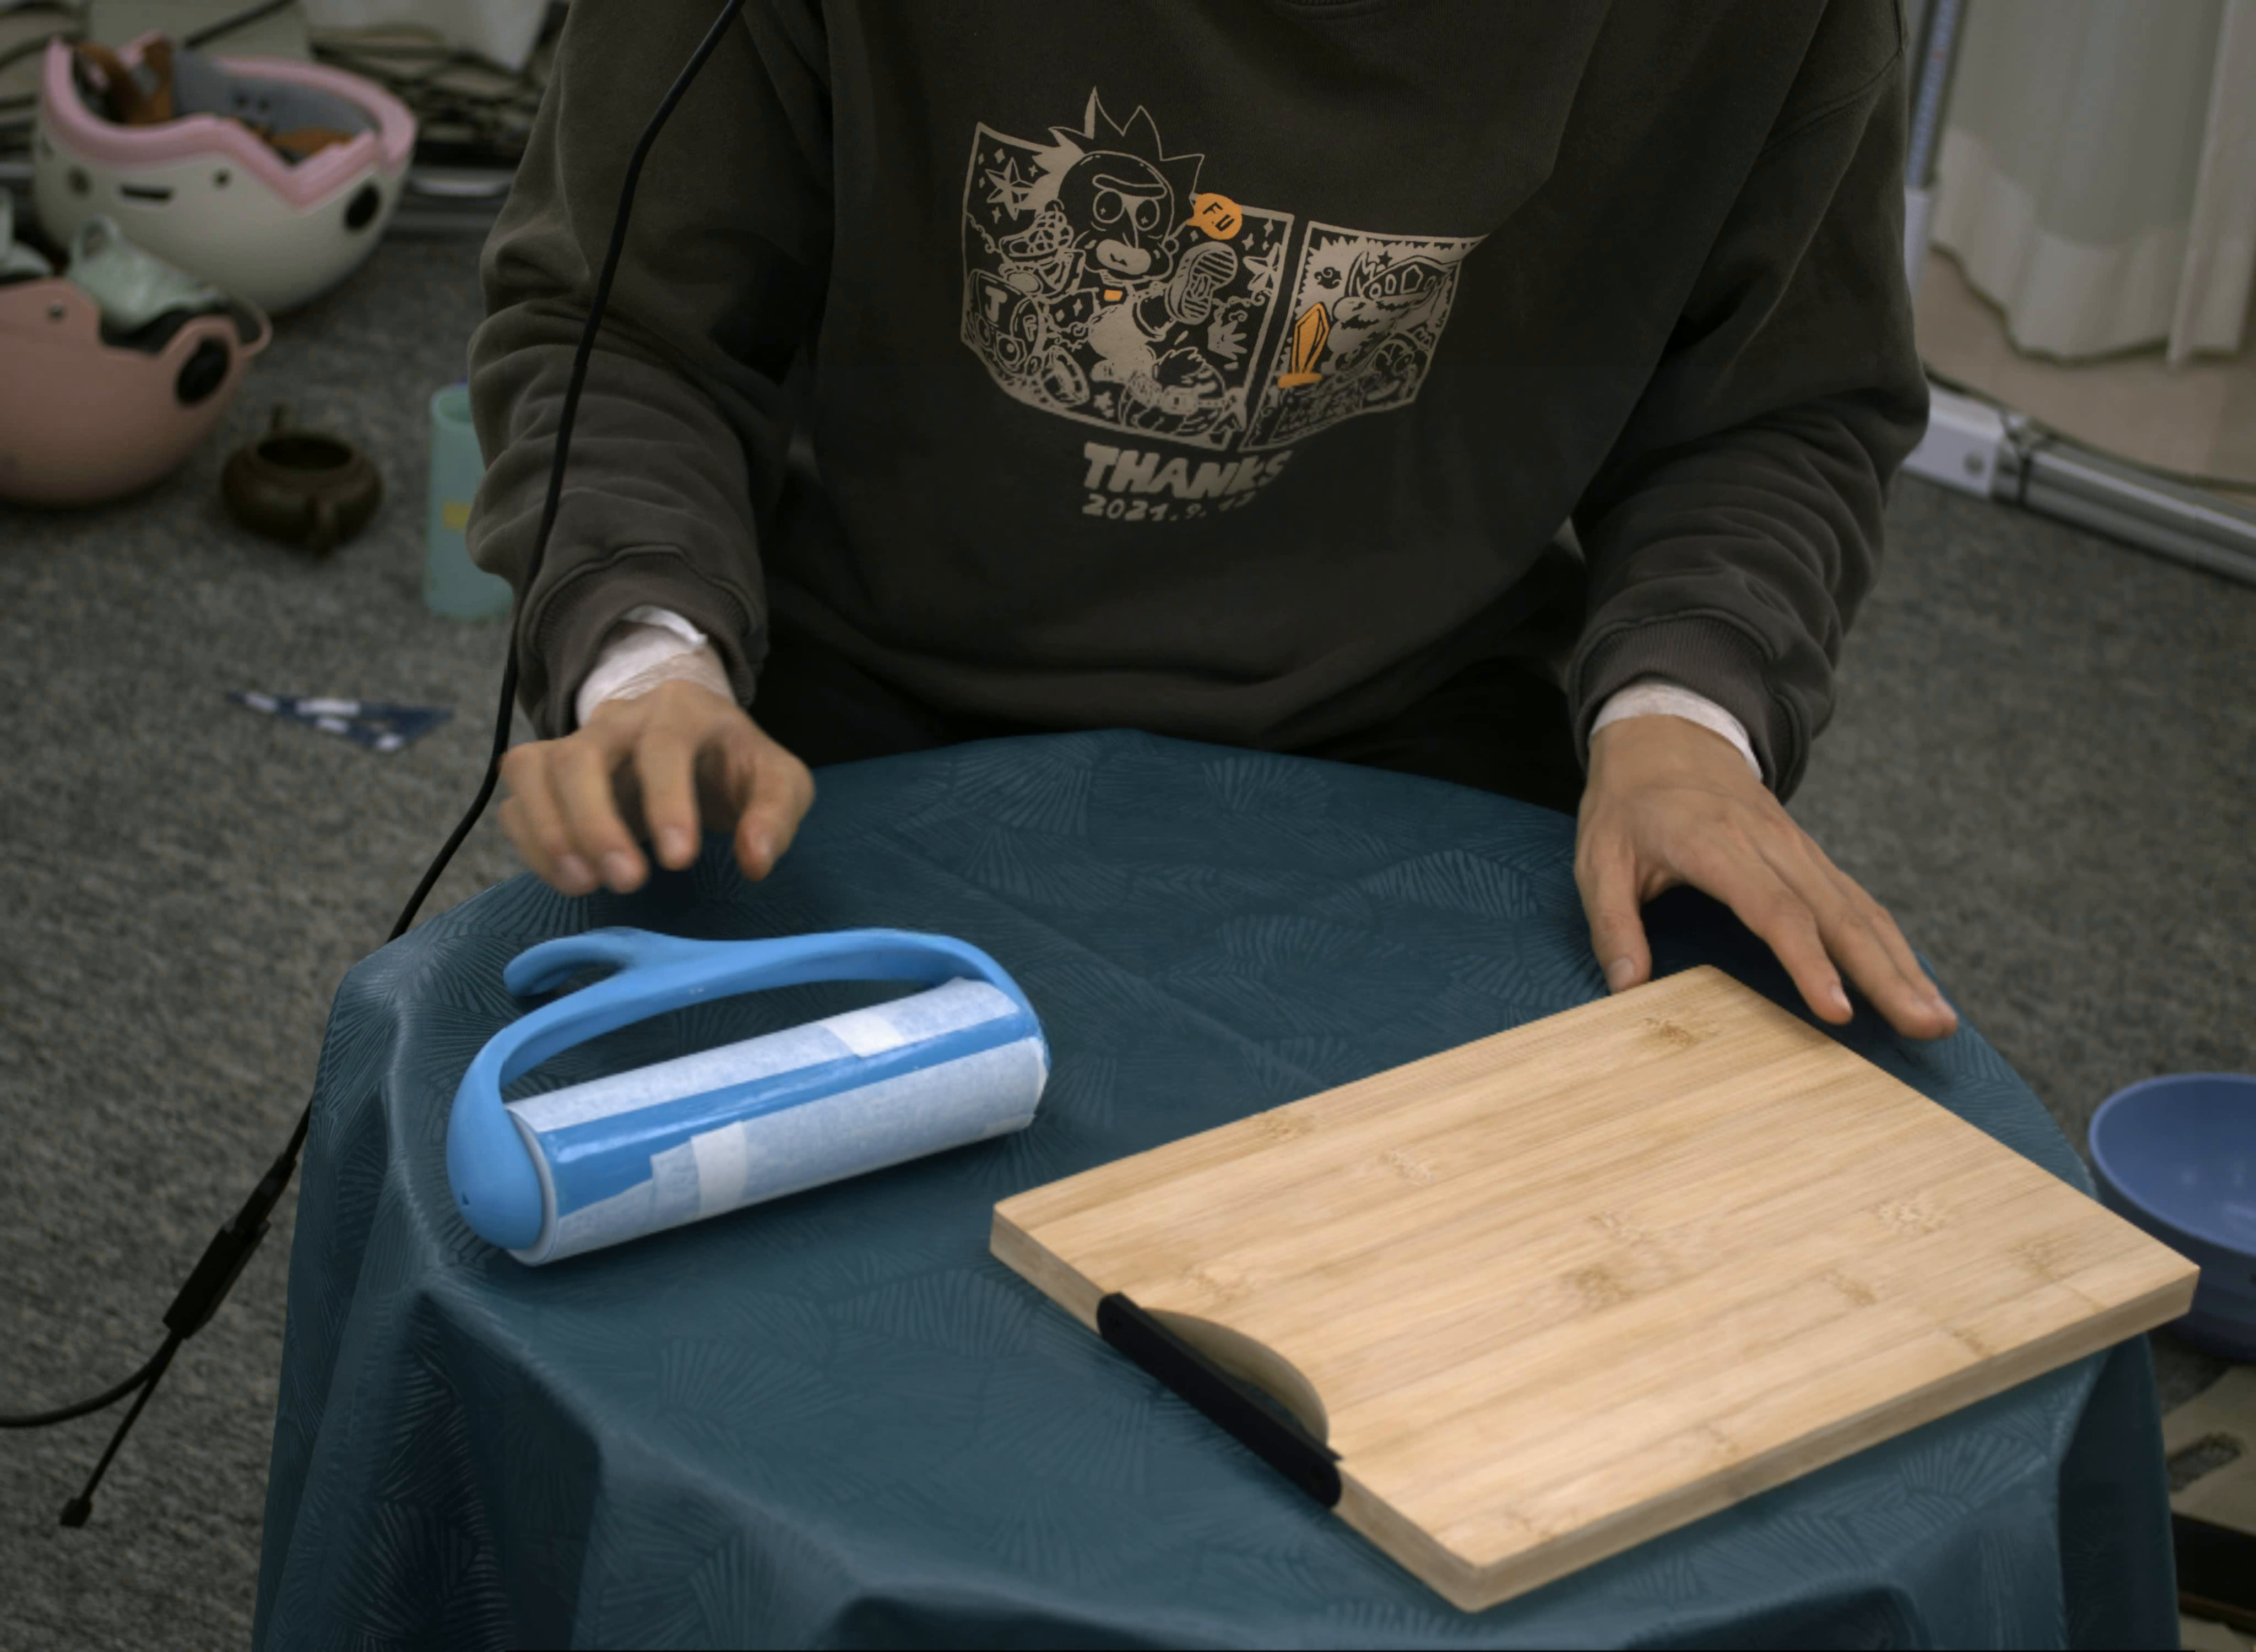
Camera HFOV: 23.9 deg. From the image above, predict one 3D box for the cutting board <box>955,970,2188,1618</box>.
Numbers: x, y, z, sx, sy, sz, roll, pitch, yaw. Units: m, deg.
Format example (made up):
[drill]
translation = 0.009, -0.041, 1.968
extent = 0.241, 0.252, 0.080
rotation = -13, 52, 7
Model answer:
[cutting board]
translation = 0.152, 0.147, 1.775
extent = 0.346, 0.023, 0.253
rotation = -16, 34, -38

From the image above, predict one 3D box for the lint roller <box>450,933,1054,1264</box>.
[lint roller]
translation = -0.158, 0.071, 1.809
extent = 0.227, 0.068, 0.182
rotation = -16, 35, -35
